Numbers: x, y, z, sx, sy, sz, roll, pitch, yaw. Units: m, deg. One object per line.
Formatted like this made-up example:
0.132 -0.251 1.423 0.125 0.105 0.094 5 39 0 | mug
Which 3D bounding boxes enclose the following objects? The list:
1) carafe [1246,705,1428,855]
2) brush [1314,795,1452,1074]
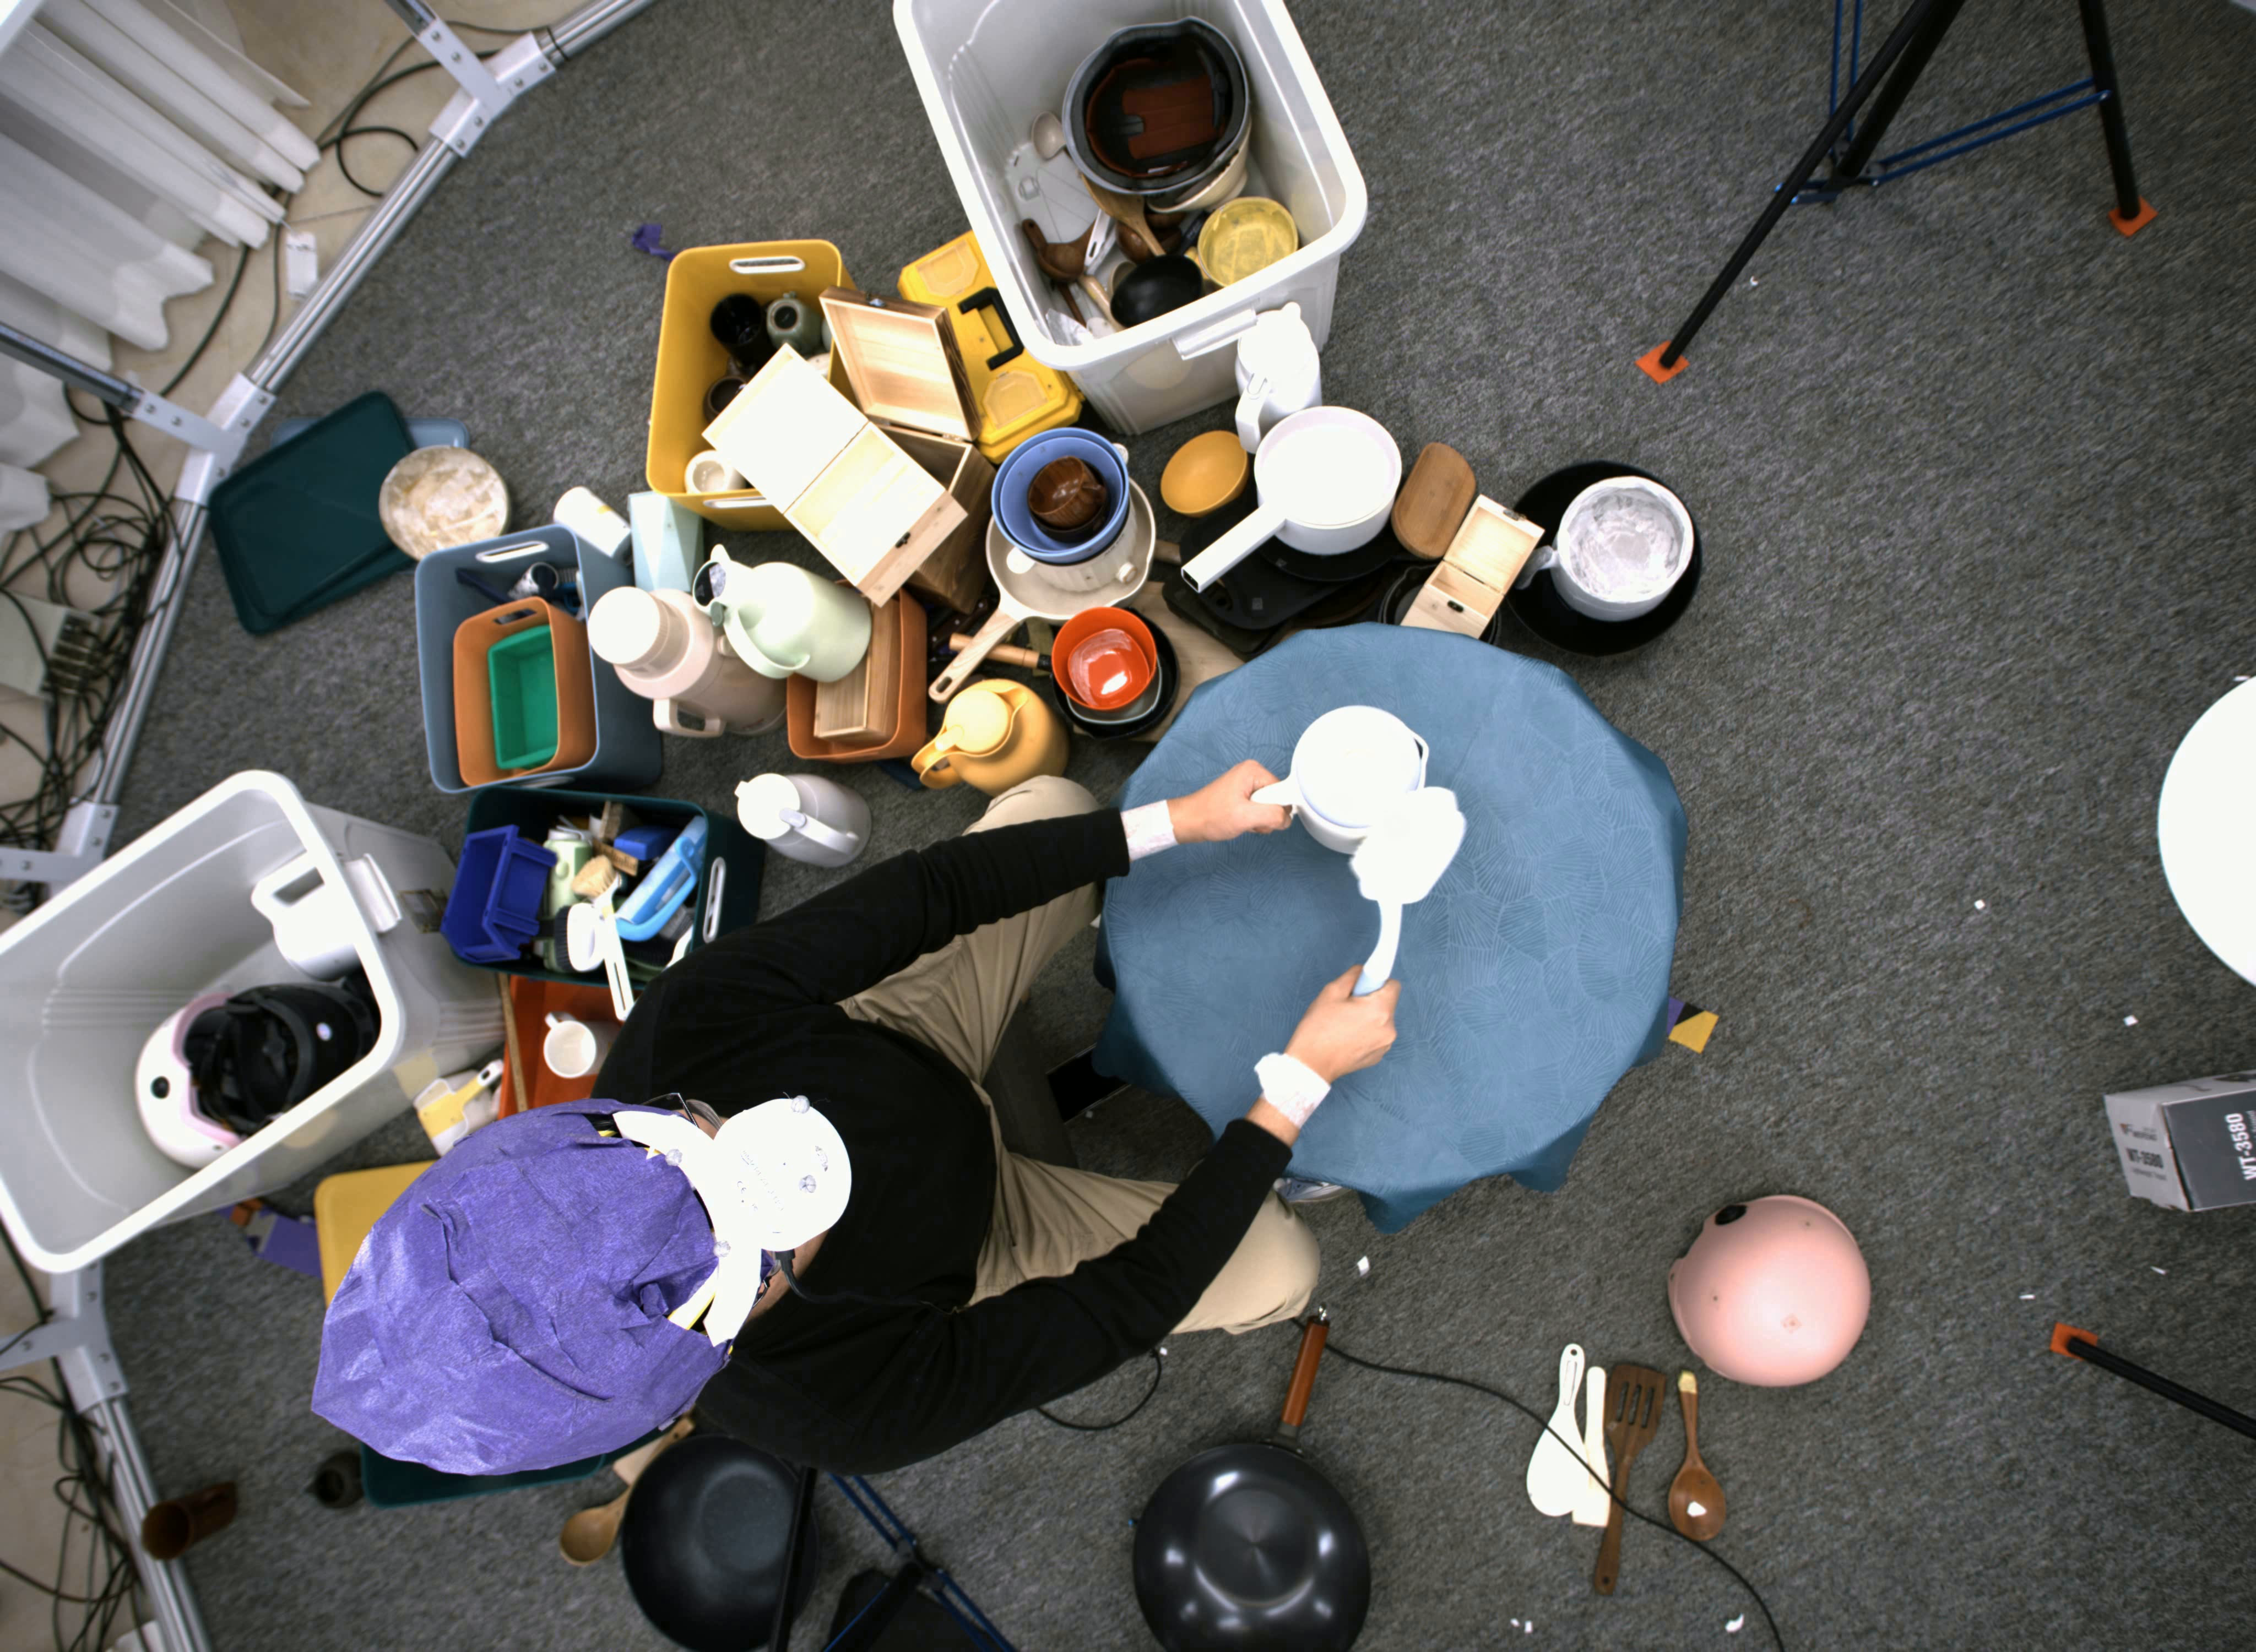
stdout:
0.208 -0.038 1.388 0.192 0.183 0.131 -19 80 8 | carafe
0.230 0.102 1.351 0.083 0.082 0.333 26 123 14 | brush
